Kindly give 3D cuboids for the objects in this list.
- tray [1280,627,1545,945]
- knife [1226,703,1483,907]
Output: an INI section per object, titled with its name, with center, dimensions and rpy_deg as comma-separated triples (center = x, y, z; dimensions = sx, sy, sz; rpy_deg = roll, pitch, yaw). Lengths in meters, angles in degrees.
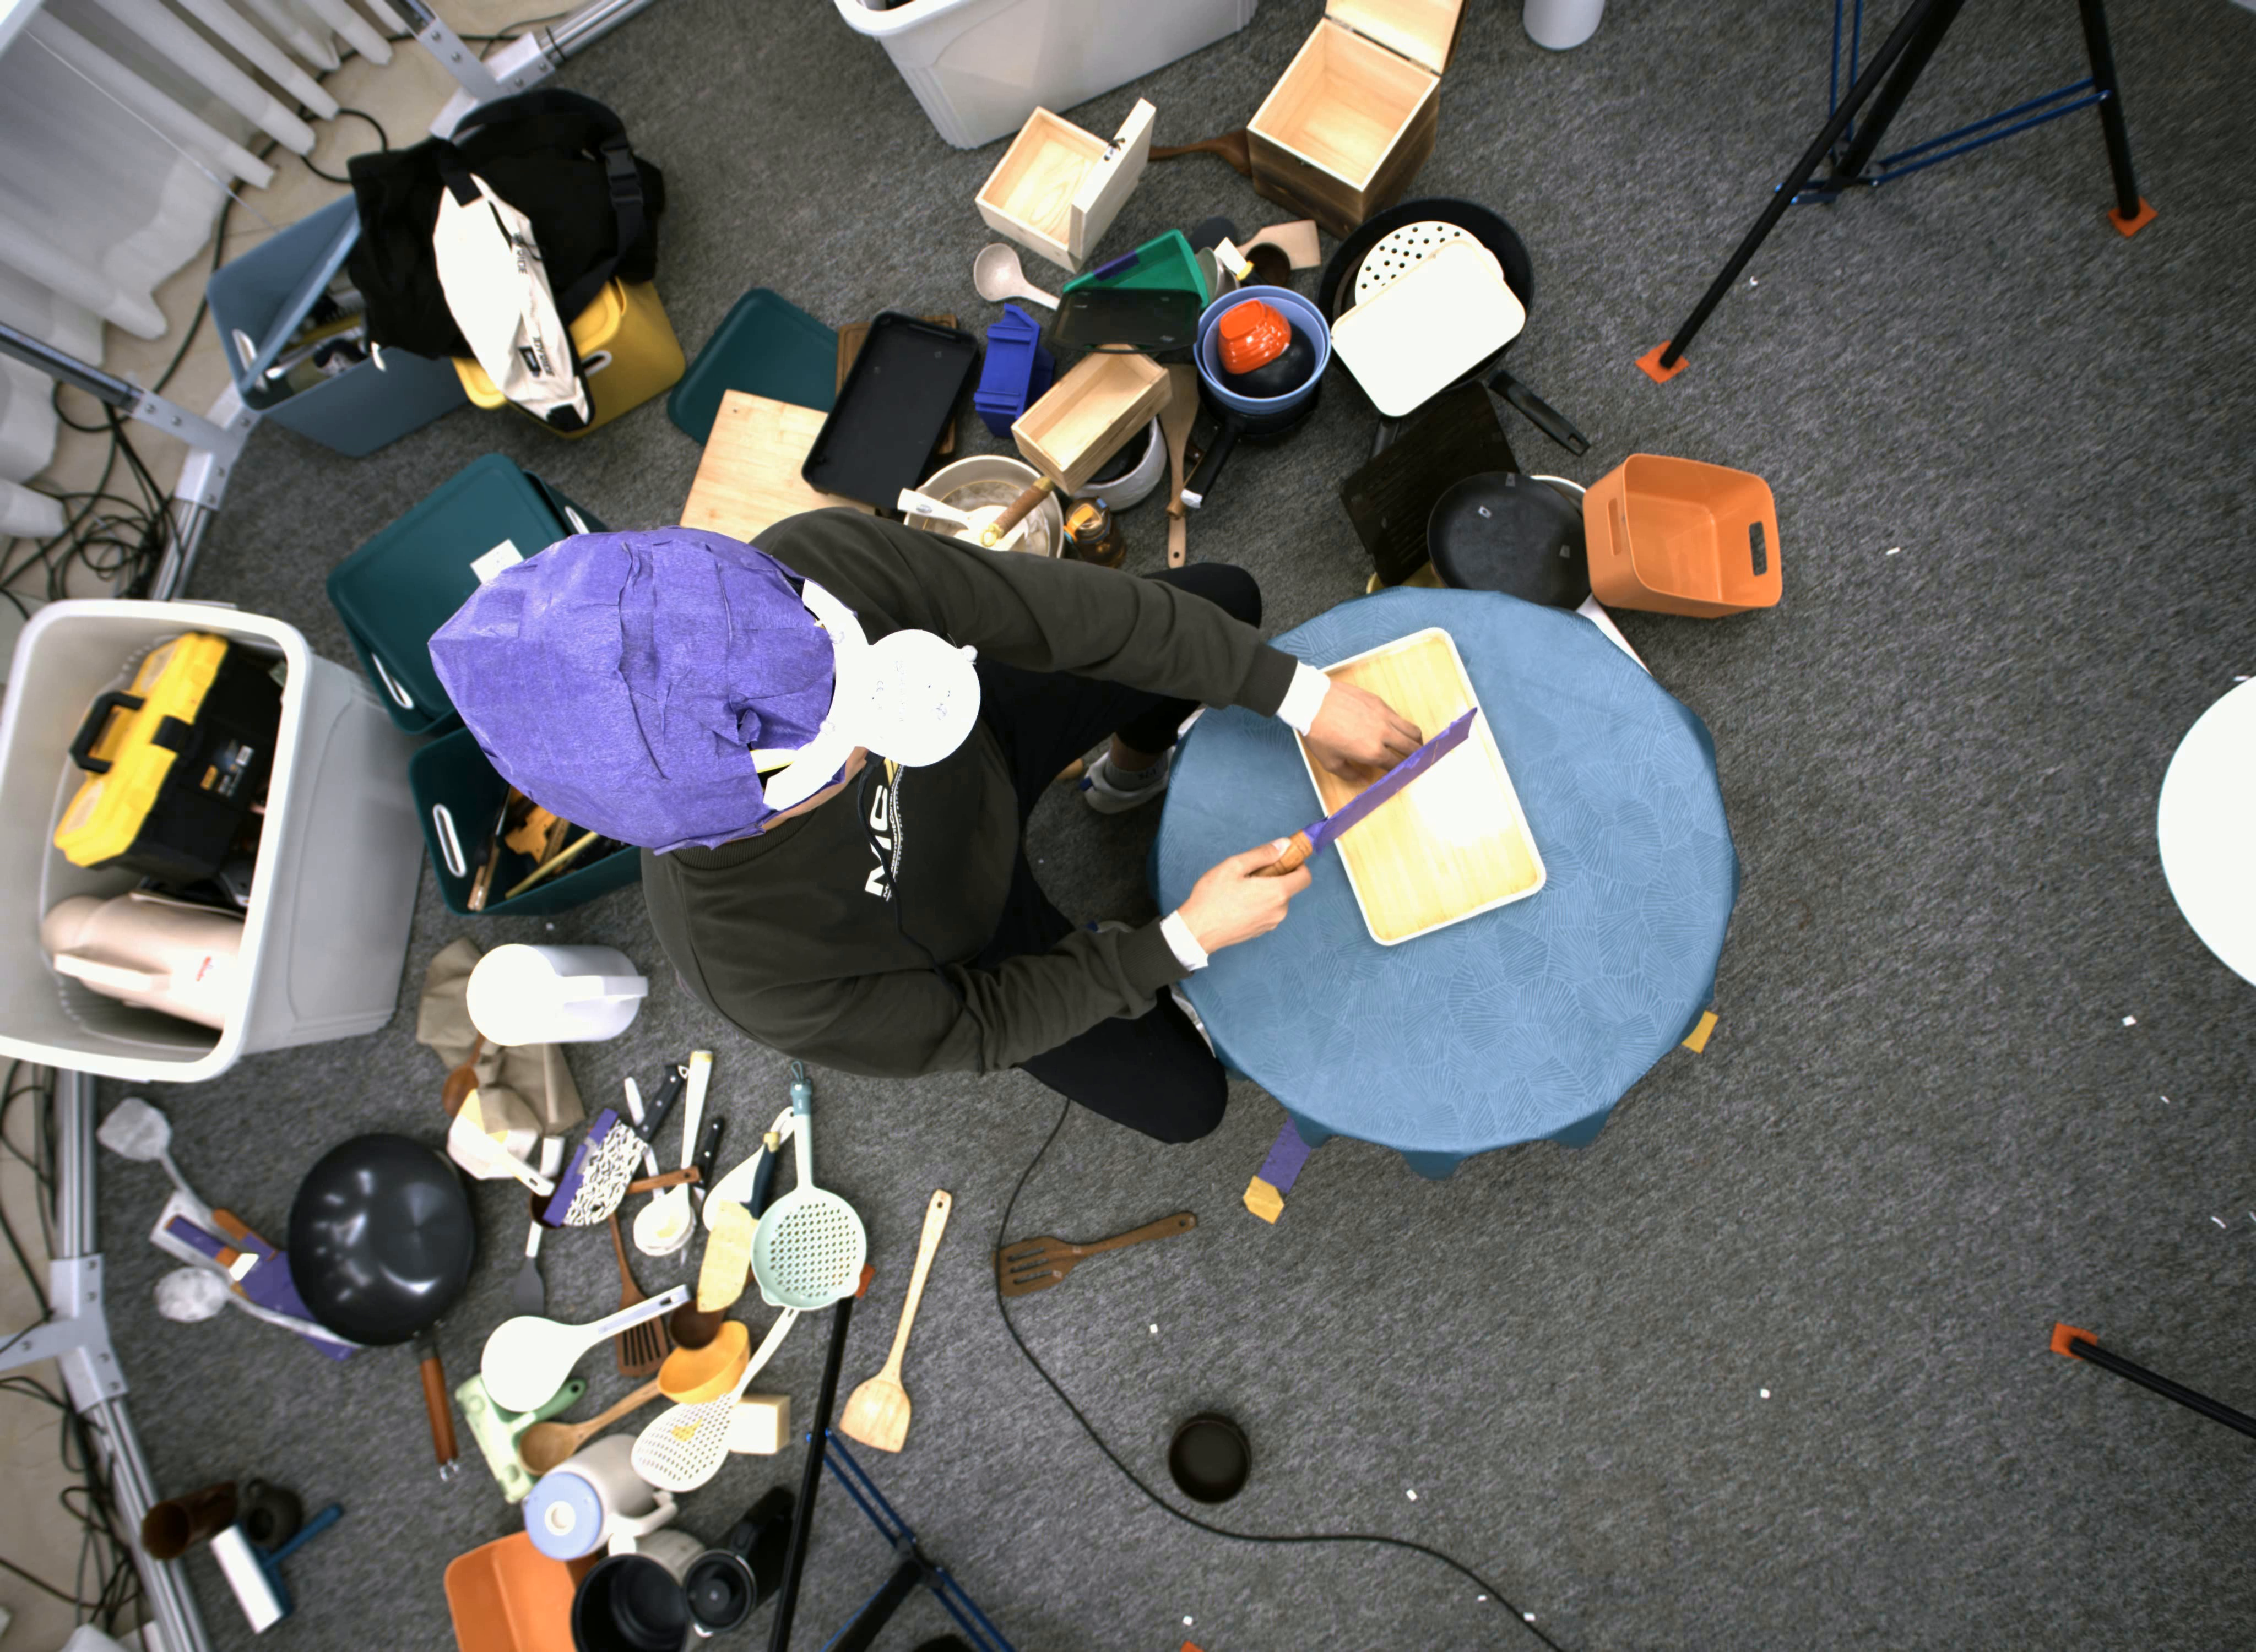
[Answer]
[tray]
center = 0.296, -0.044, 1.448
dimensions = 0.193, 0.027, 0.298
rpy_deg = -21, 83, 9
[knife]
center = 0.234, -0.014, 1.392
dimensions = 0.315, 0.105, 0.032
rpy_deg = -36, 70, -2
